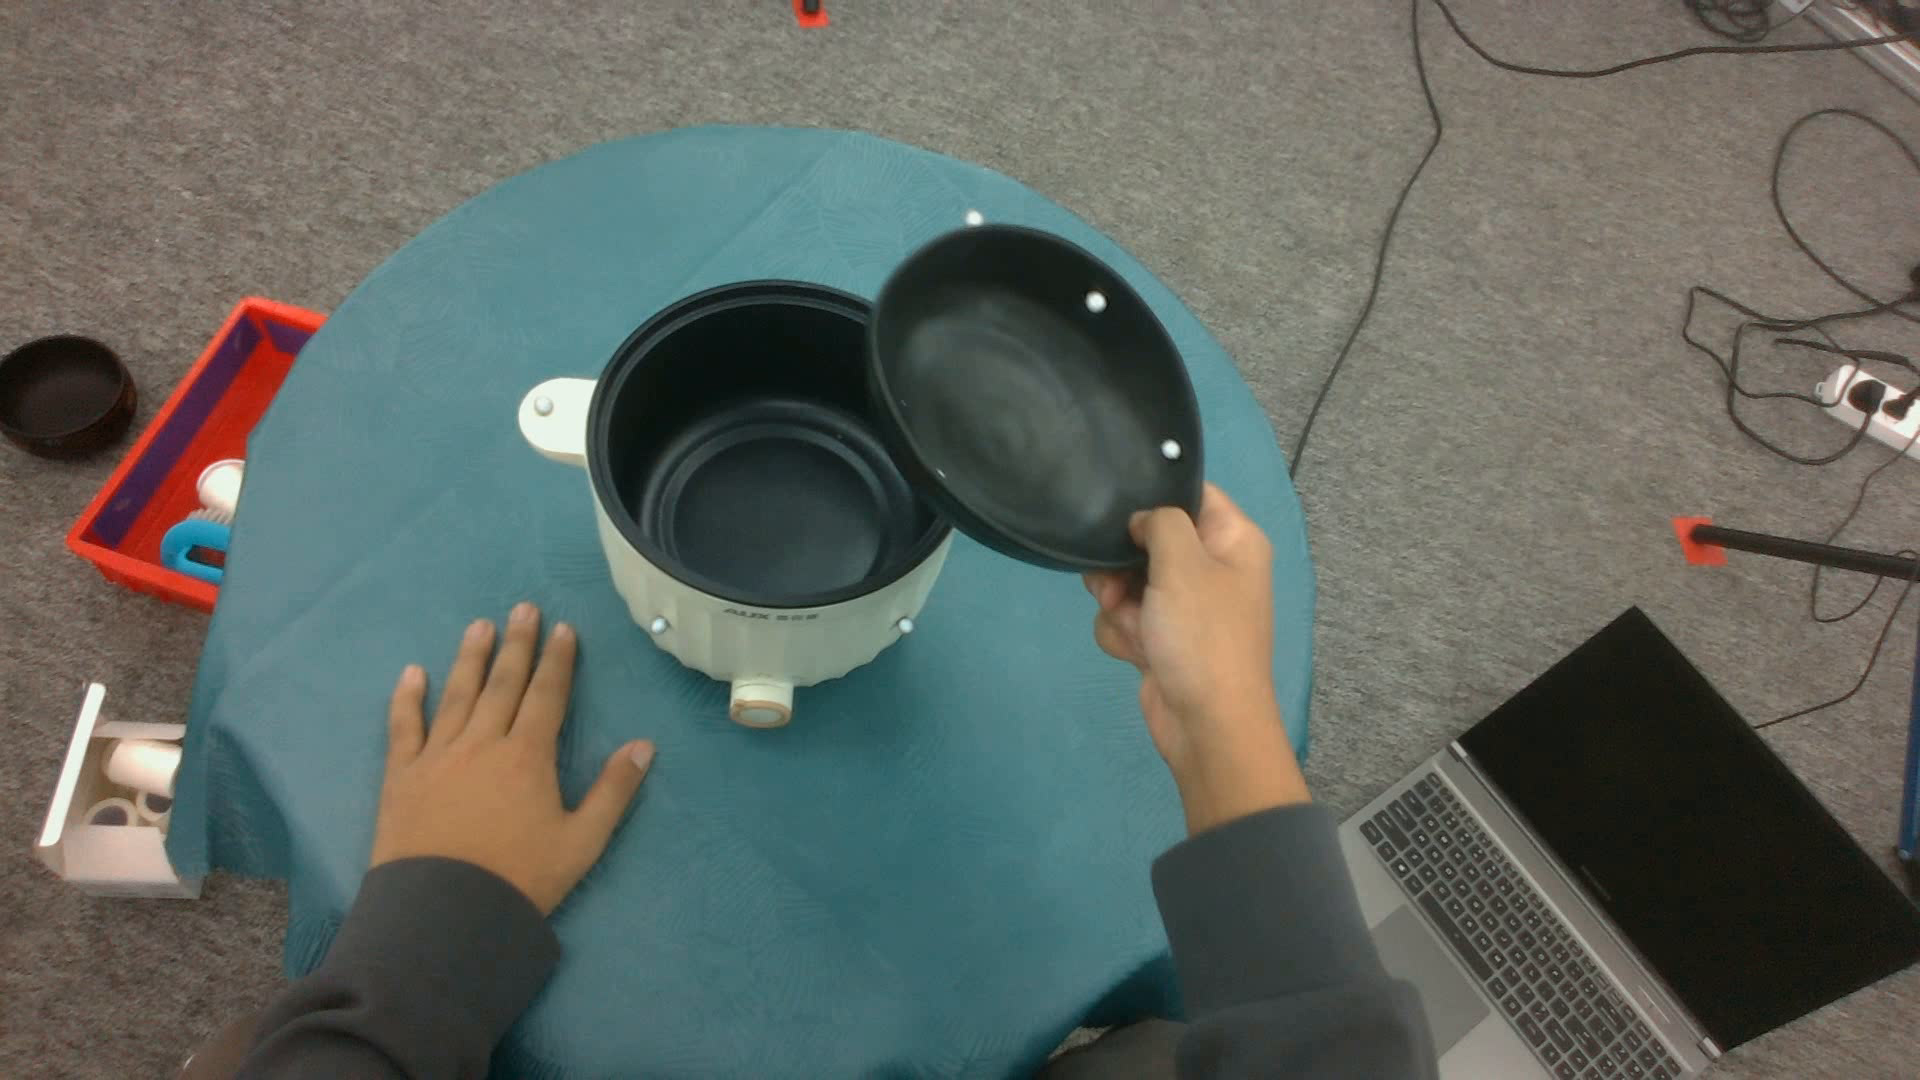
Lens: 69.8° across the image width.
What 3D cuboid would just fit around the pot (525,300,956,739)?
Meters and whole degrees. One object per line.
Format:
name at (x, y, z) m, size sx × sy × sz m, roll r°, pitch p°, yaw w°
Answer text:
pot at (-0.092, -0.007, 0.713) m, size 0.240 × 0.142 × 0.191 m, roll 1°, pitch 58°, yaw -7°

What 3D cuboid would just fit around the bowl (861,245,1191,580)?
bowl at (0.025, -0.047, 0.596) m, size 0.170 × 0.066 × 0.138 m, roll 26°, pitch 63°, yaw -22°
